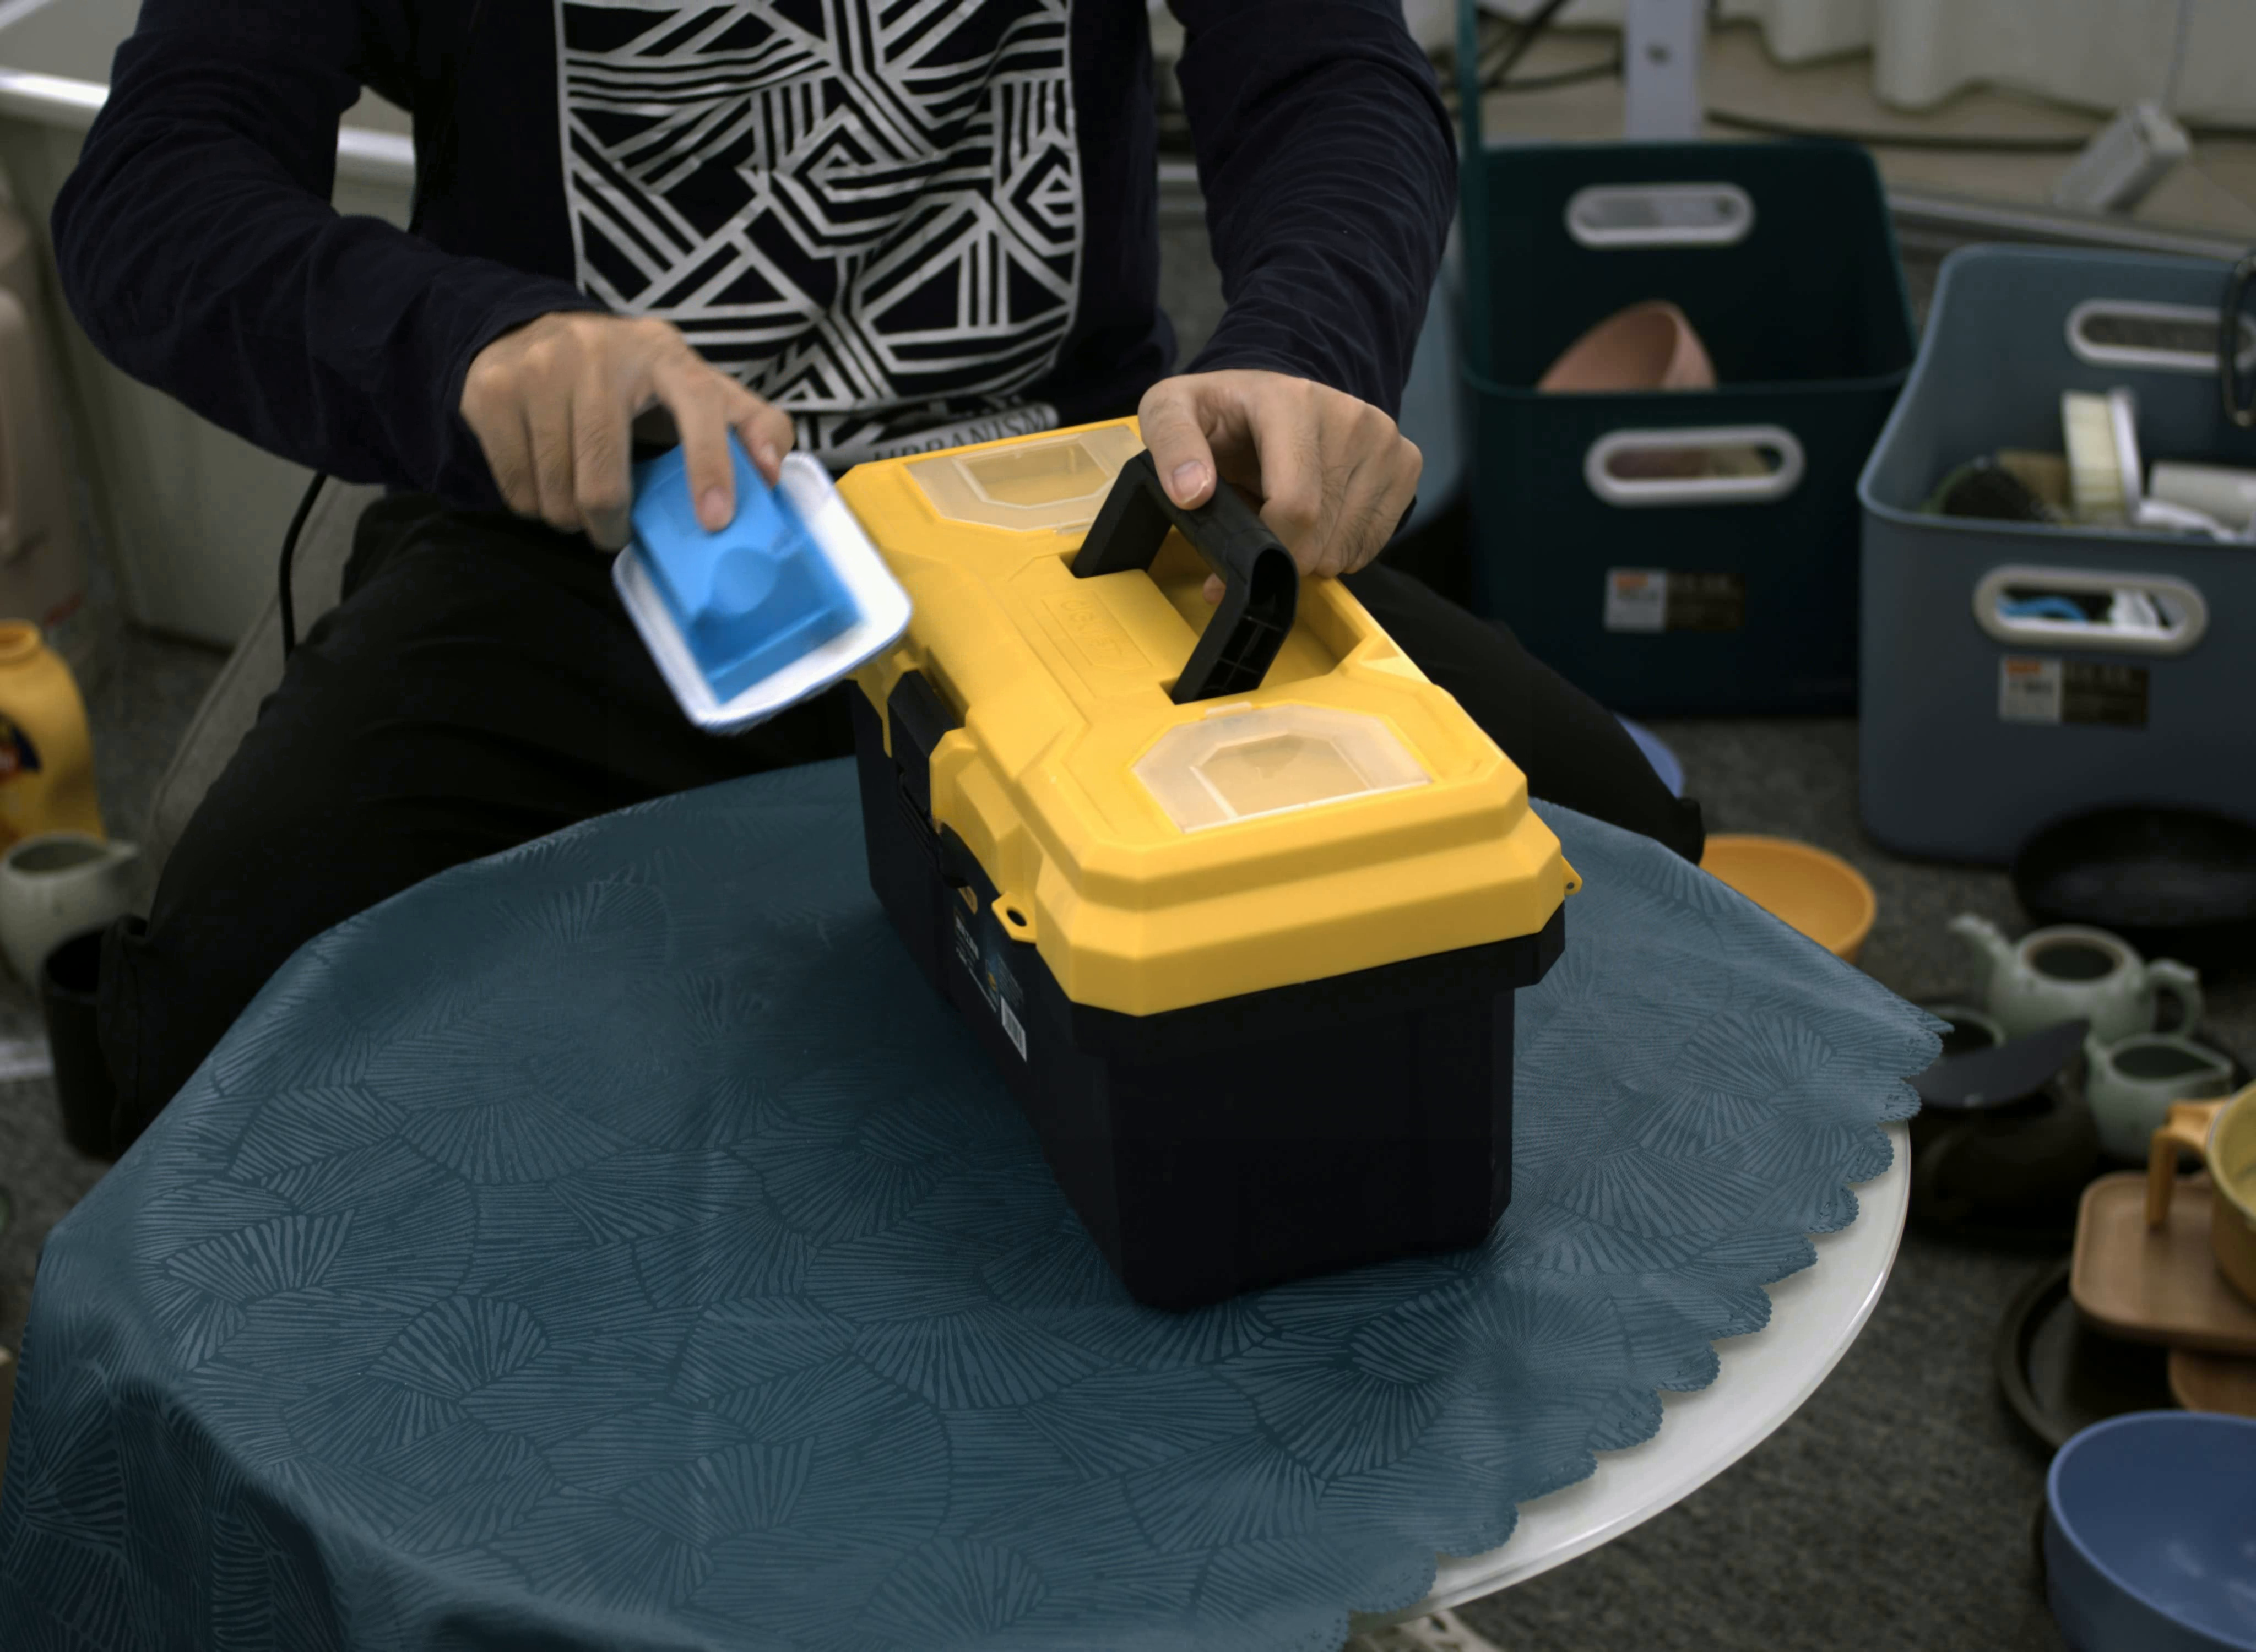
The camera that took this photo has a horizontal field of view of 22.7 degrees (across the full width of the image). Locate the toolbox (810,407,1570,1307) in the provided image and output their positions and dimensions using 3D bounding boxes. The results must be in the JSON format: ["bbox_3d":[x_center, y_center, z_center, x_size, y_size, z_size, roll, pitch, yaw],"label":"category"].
[{"bbox_3d":[0.010,0.004,1.899,0.181,0.171,0.354,-11,28,-15],"label":"toolbox"}]

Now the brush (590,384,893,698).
[{"bbox_3d":[-0.133,-0.099,1.866,0.084,0.055,0.145,-26,35,-5],"label":"brush"}]
